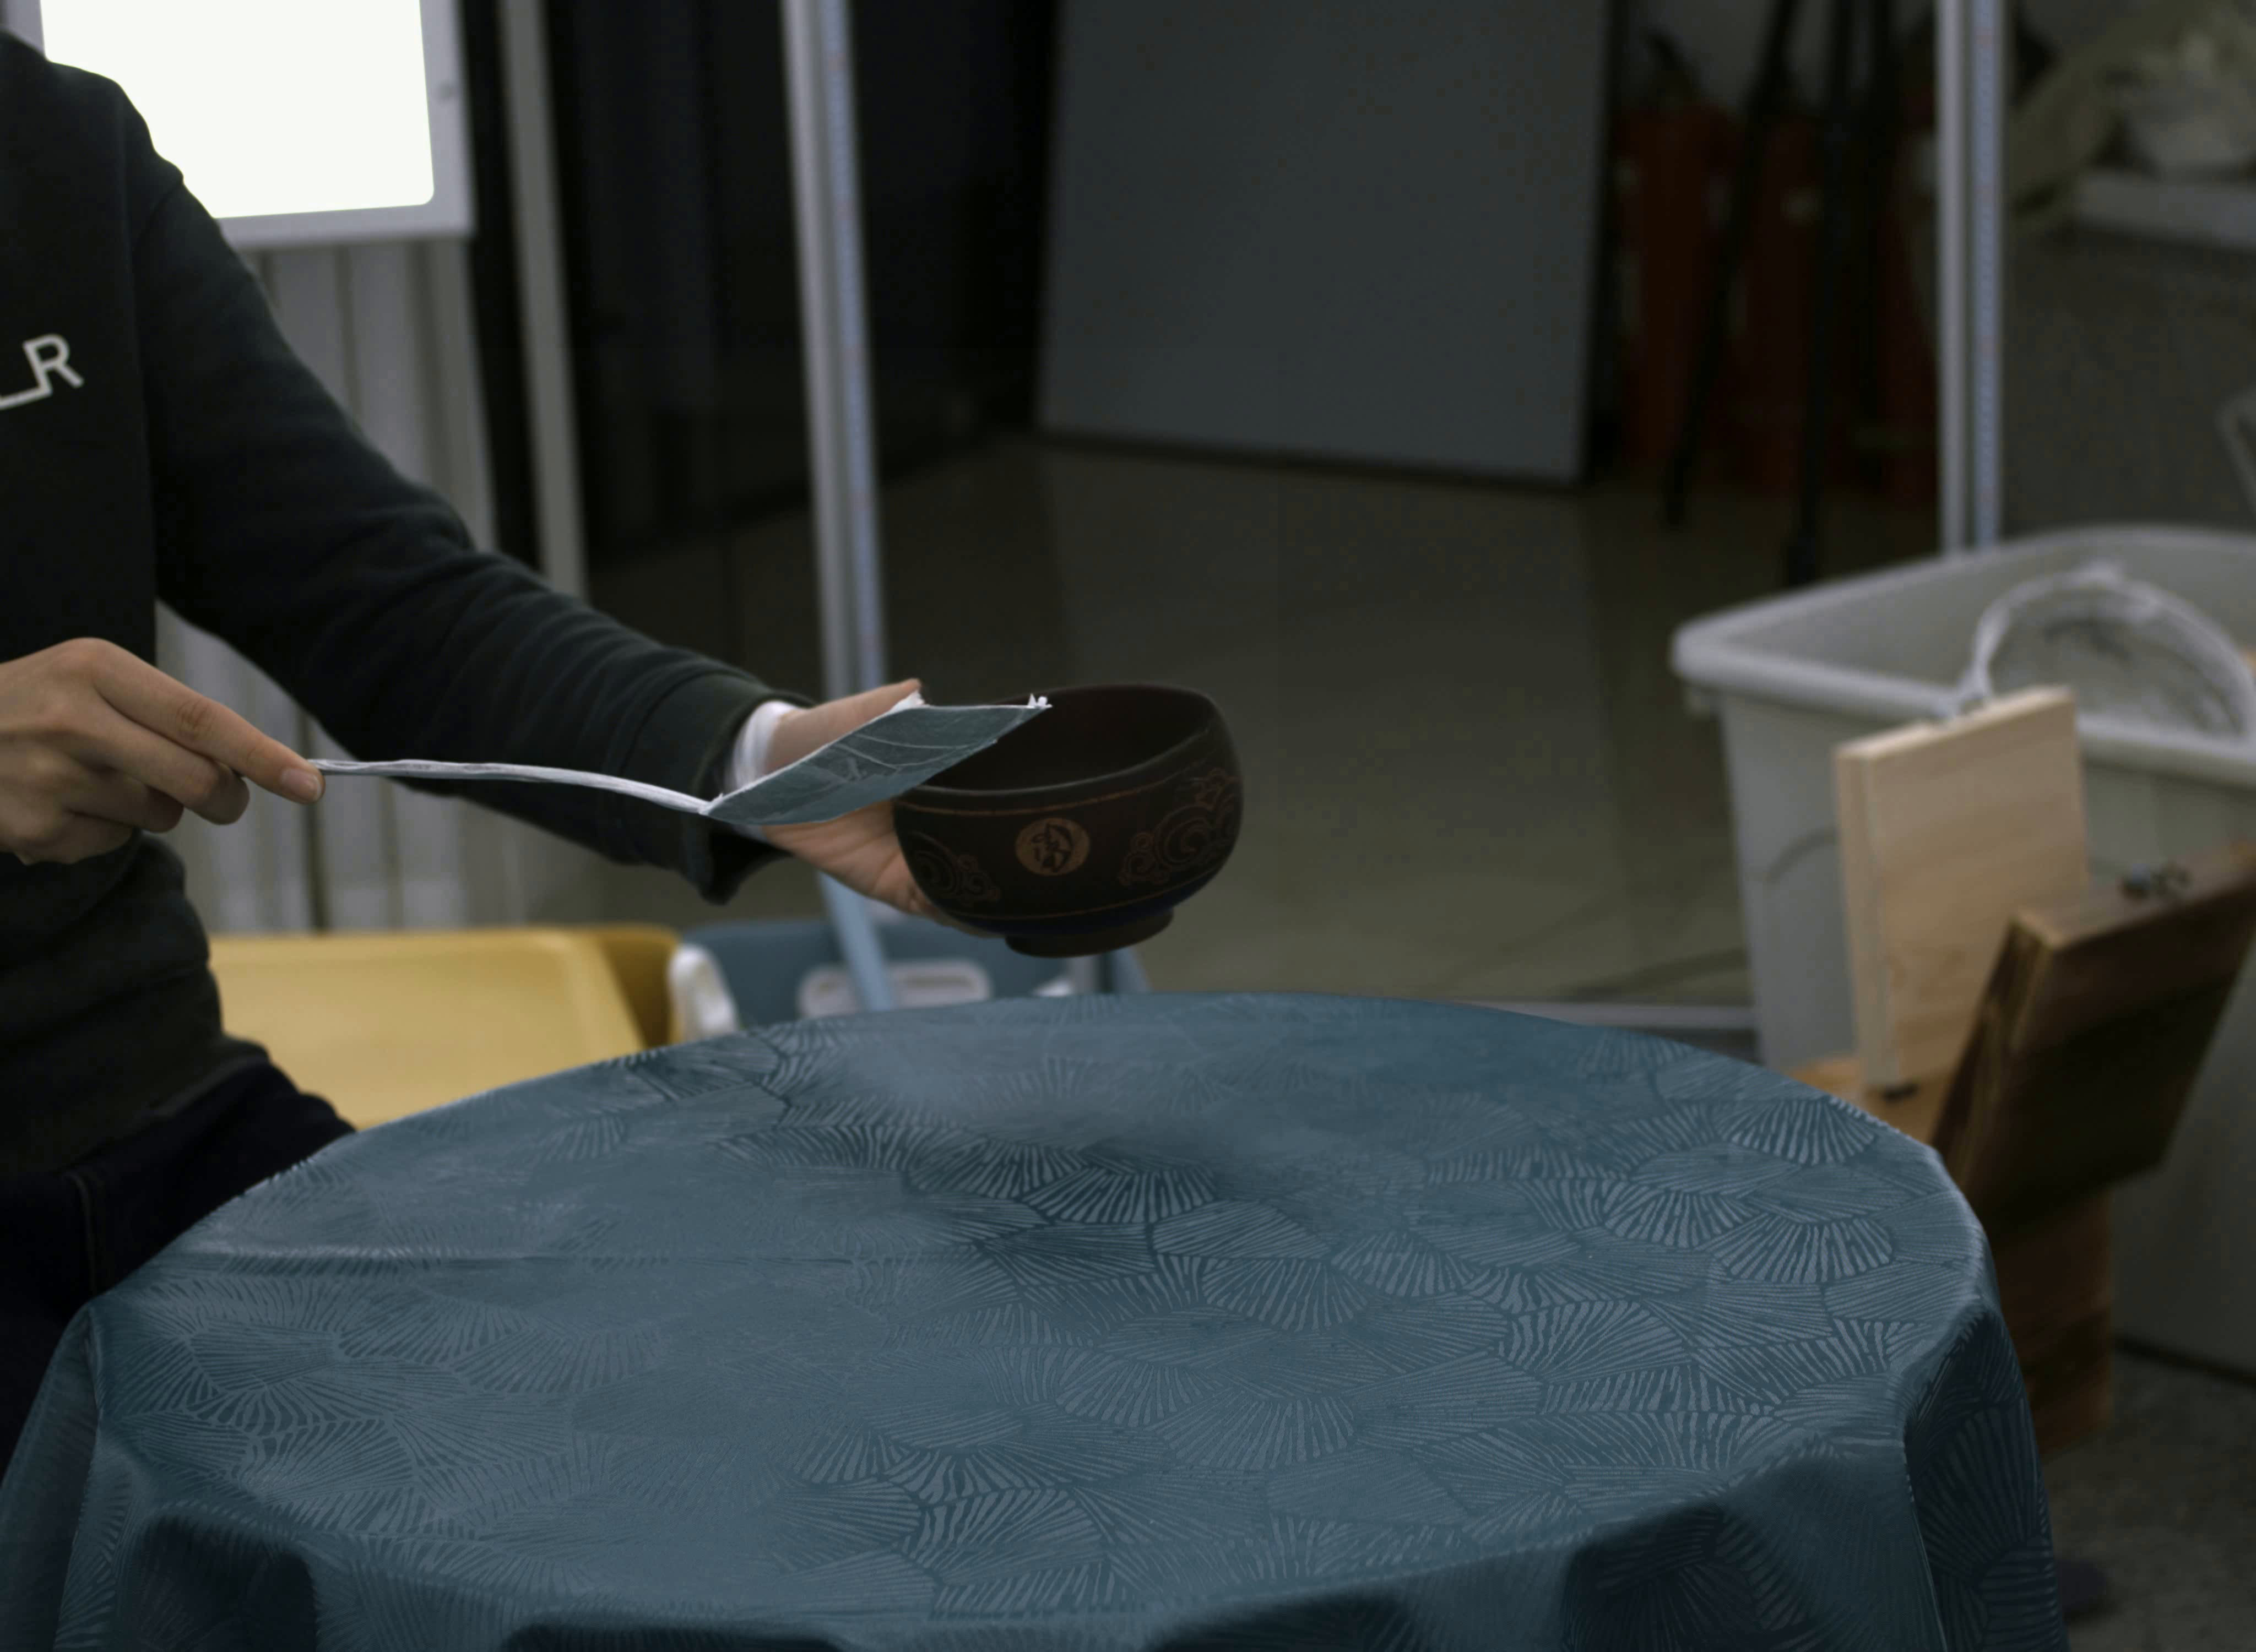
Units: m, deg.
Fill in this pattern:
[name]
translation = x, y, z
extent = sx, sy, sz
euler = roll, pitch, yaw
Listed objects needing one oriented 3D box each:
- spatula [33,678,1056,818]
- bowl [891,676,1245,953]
[spatula]
translation = -0.194, -0.022, 1.659
extent = 0.365, 0.045, 0.097
euler = 1, 3, 27
[bowl]
translation = -0.017, 0.000, 1.784
extent = 0.116, 0.070, 0.118
euler = -9, 15, 2
